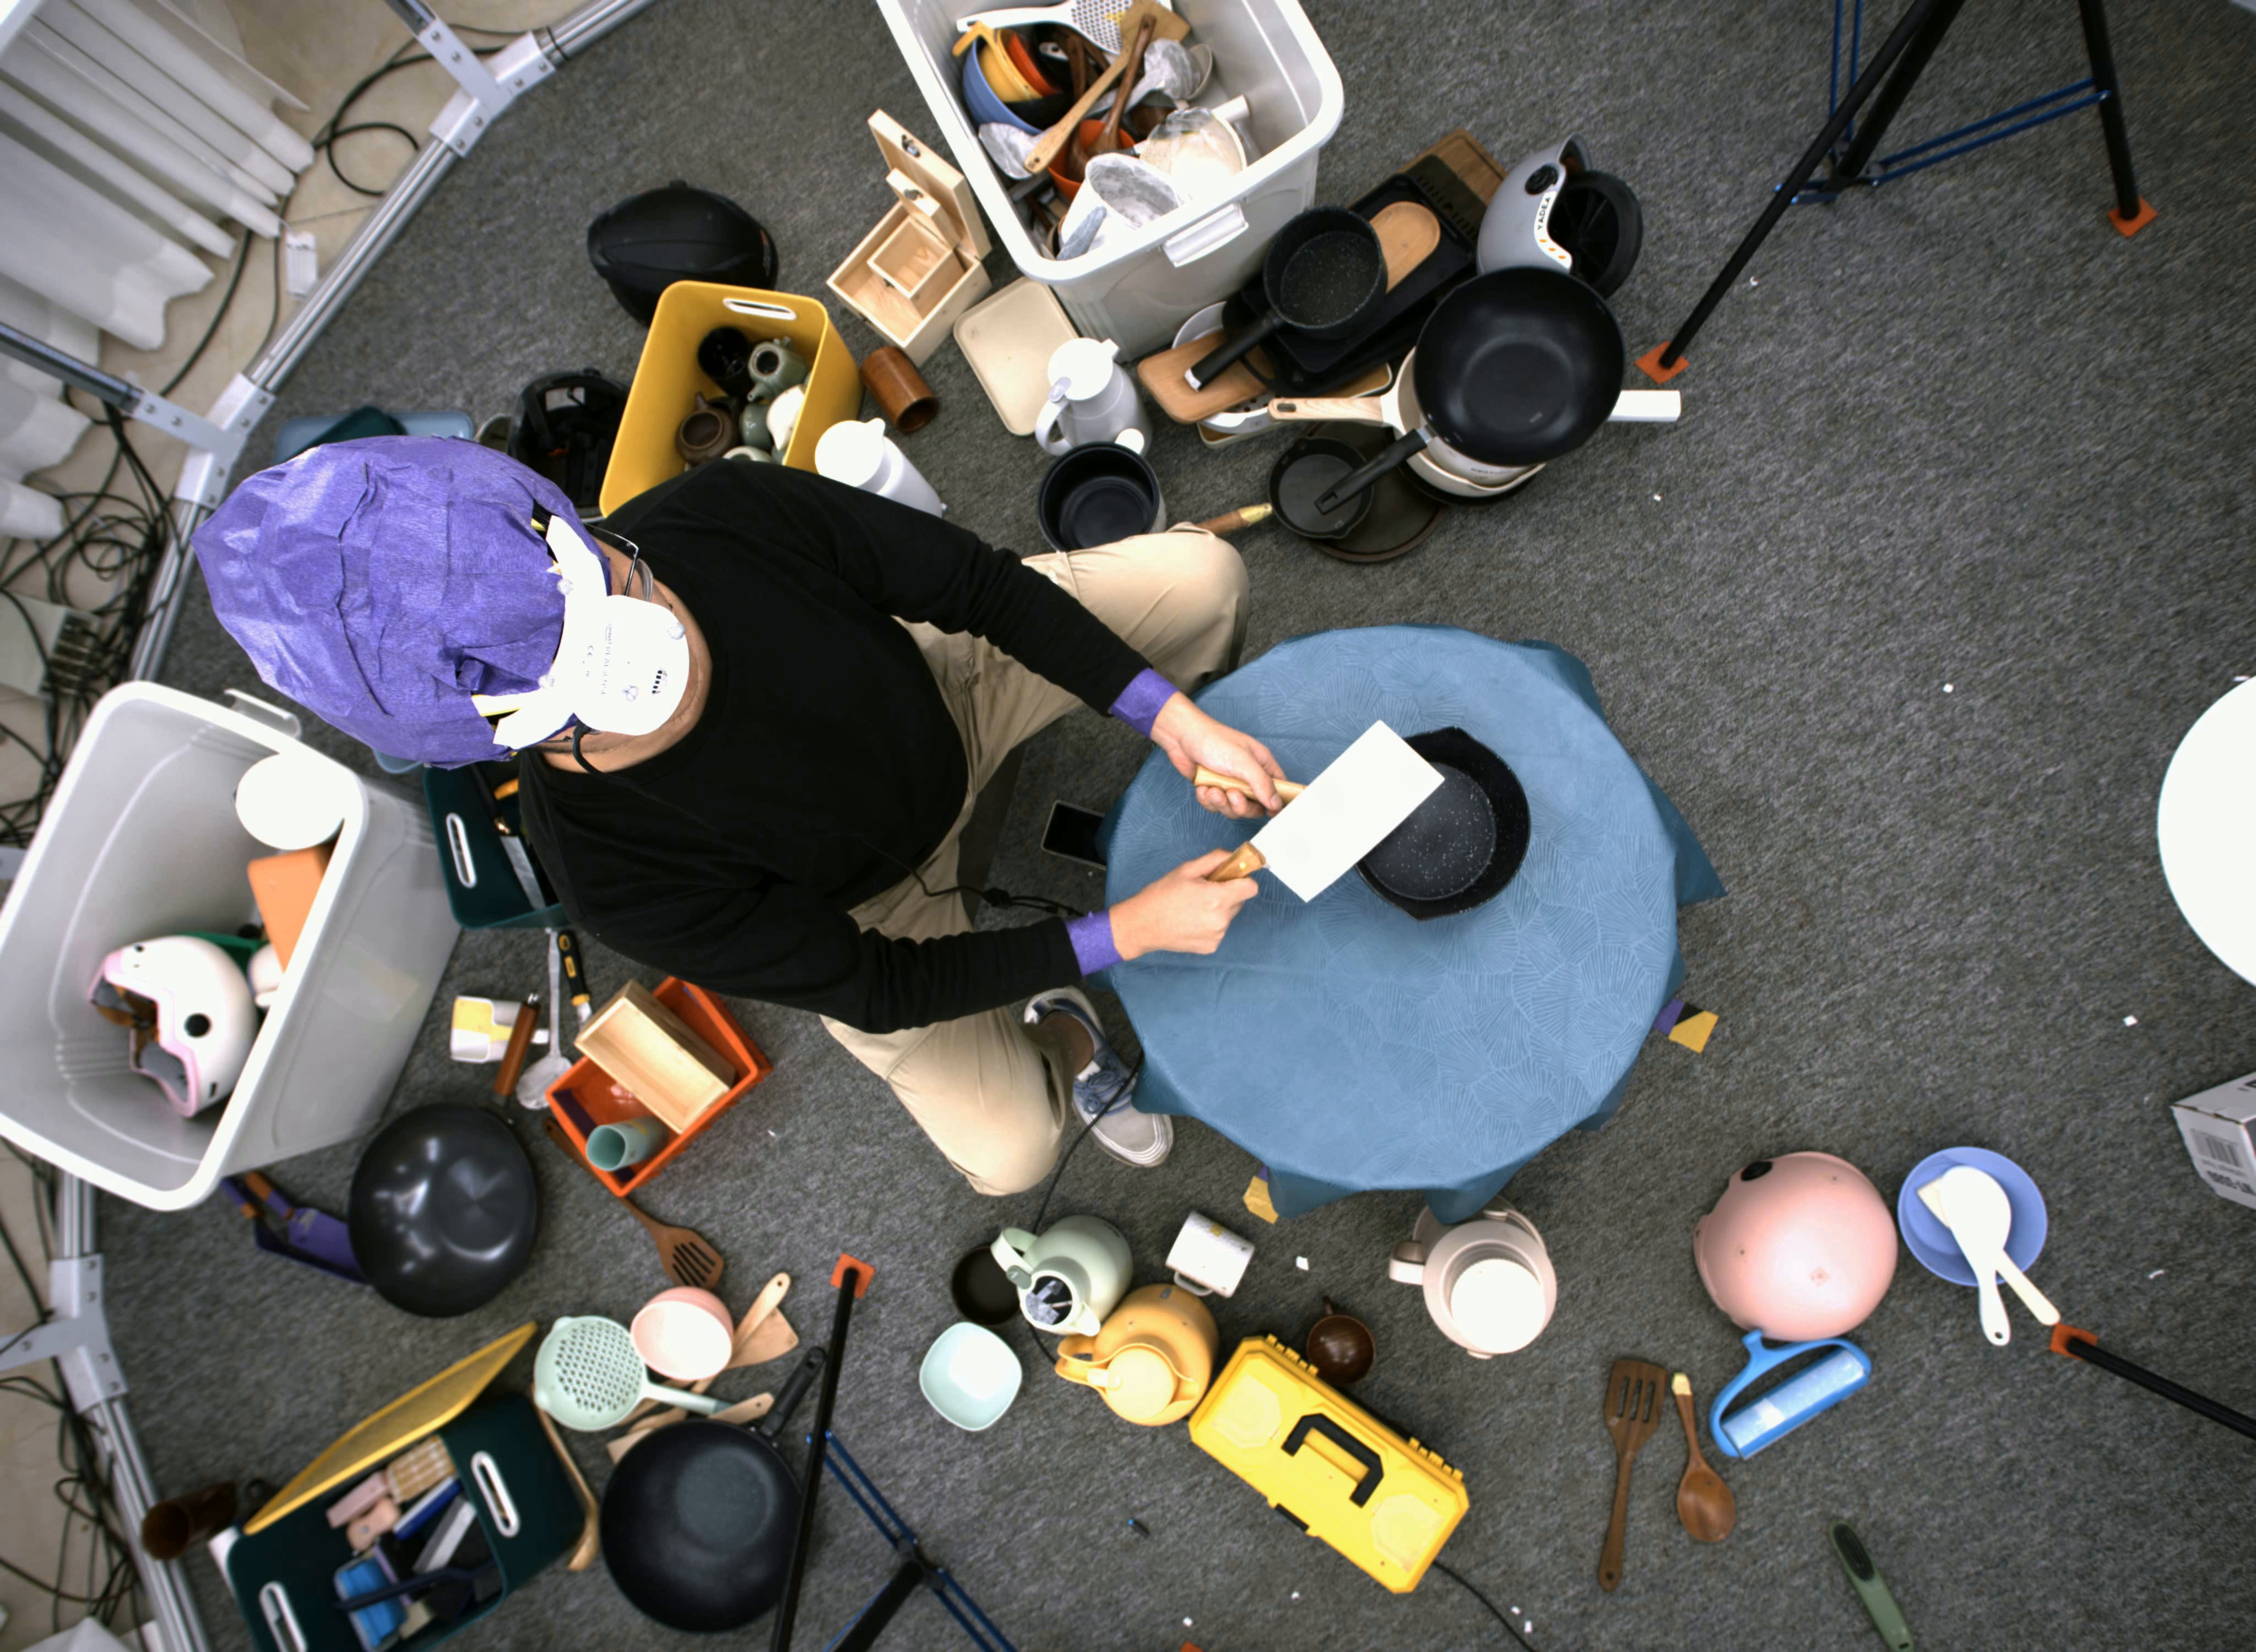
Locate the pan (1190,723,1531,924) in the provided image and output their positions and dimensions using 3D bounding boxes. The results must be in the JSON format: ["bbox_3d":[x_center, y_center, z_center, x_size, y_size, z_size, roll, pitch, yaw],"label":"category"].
[{"bbox_3d":[0.232,-0.014,1.405,0.343,0.108,0.207,10,88,5],"label":"pan"}]

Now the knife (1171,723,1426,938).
[{"bbox_3d":[0.169,0.023,1.367,0.093,0.020,0.312,39,118,-12],"label":"knife"}]
